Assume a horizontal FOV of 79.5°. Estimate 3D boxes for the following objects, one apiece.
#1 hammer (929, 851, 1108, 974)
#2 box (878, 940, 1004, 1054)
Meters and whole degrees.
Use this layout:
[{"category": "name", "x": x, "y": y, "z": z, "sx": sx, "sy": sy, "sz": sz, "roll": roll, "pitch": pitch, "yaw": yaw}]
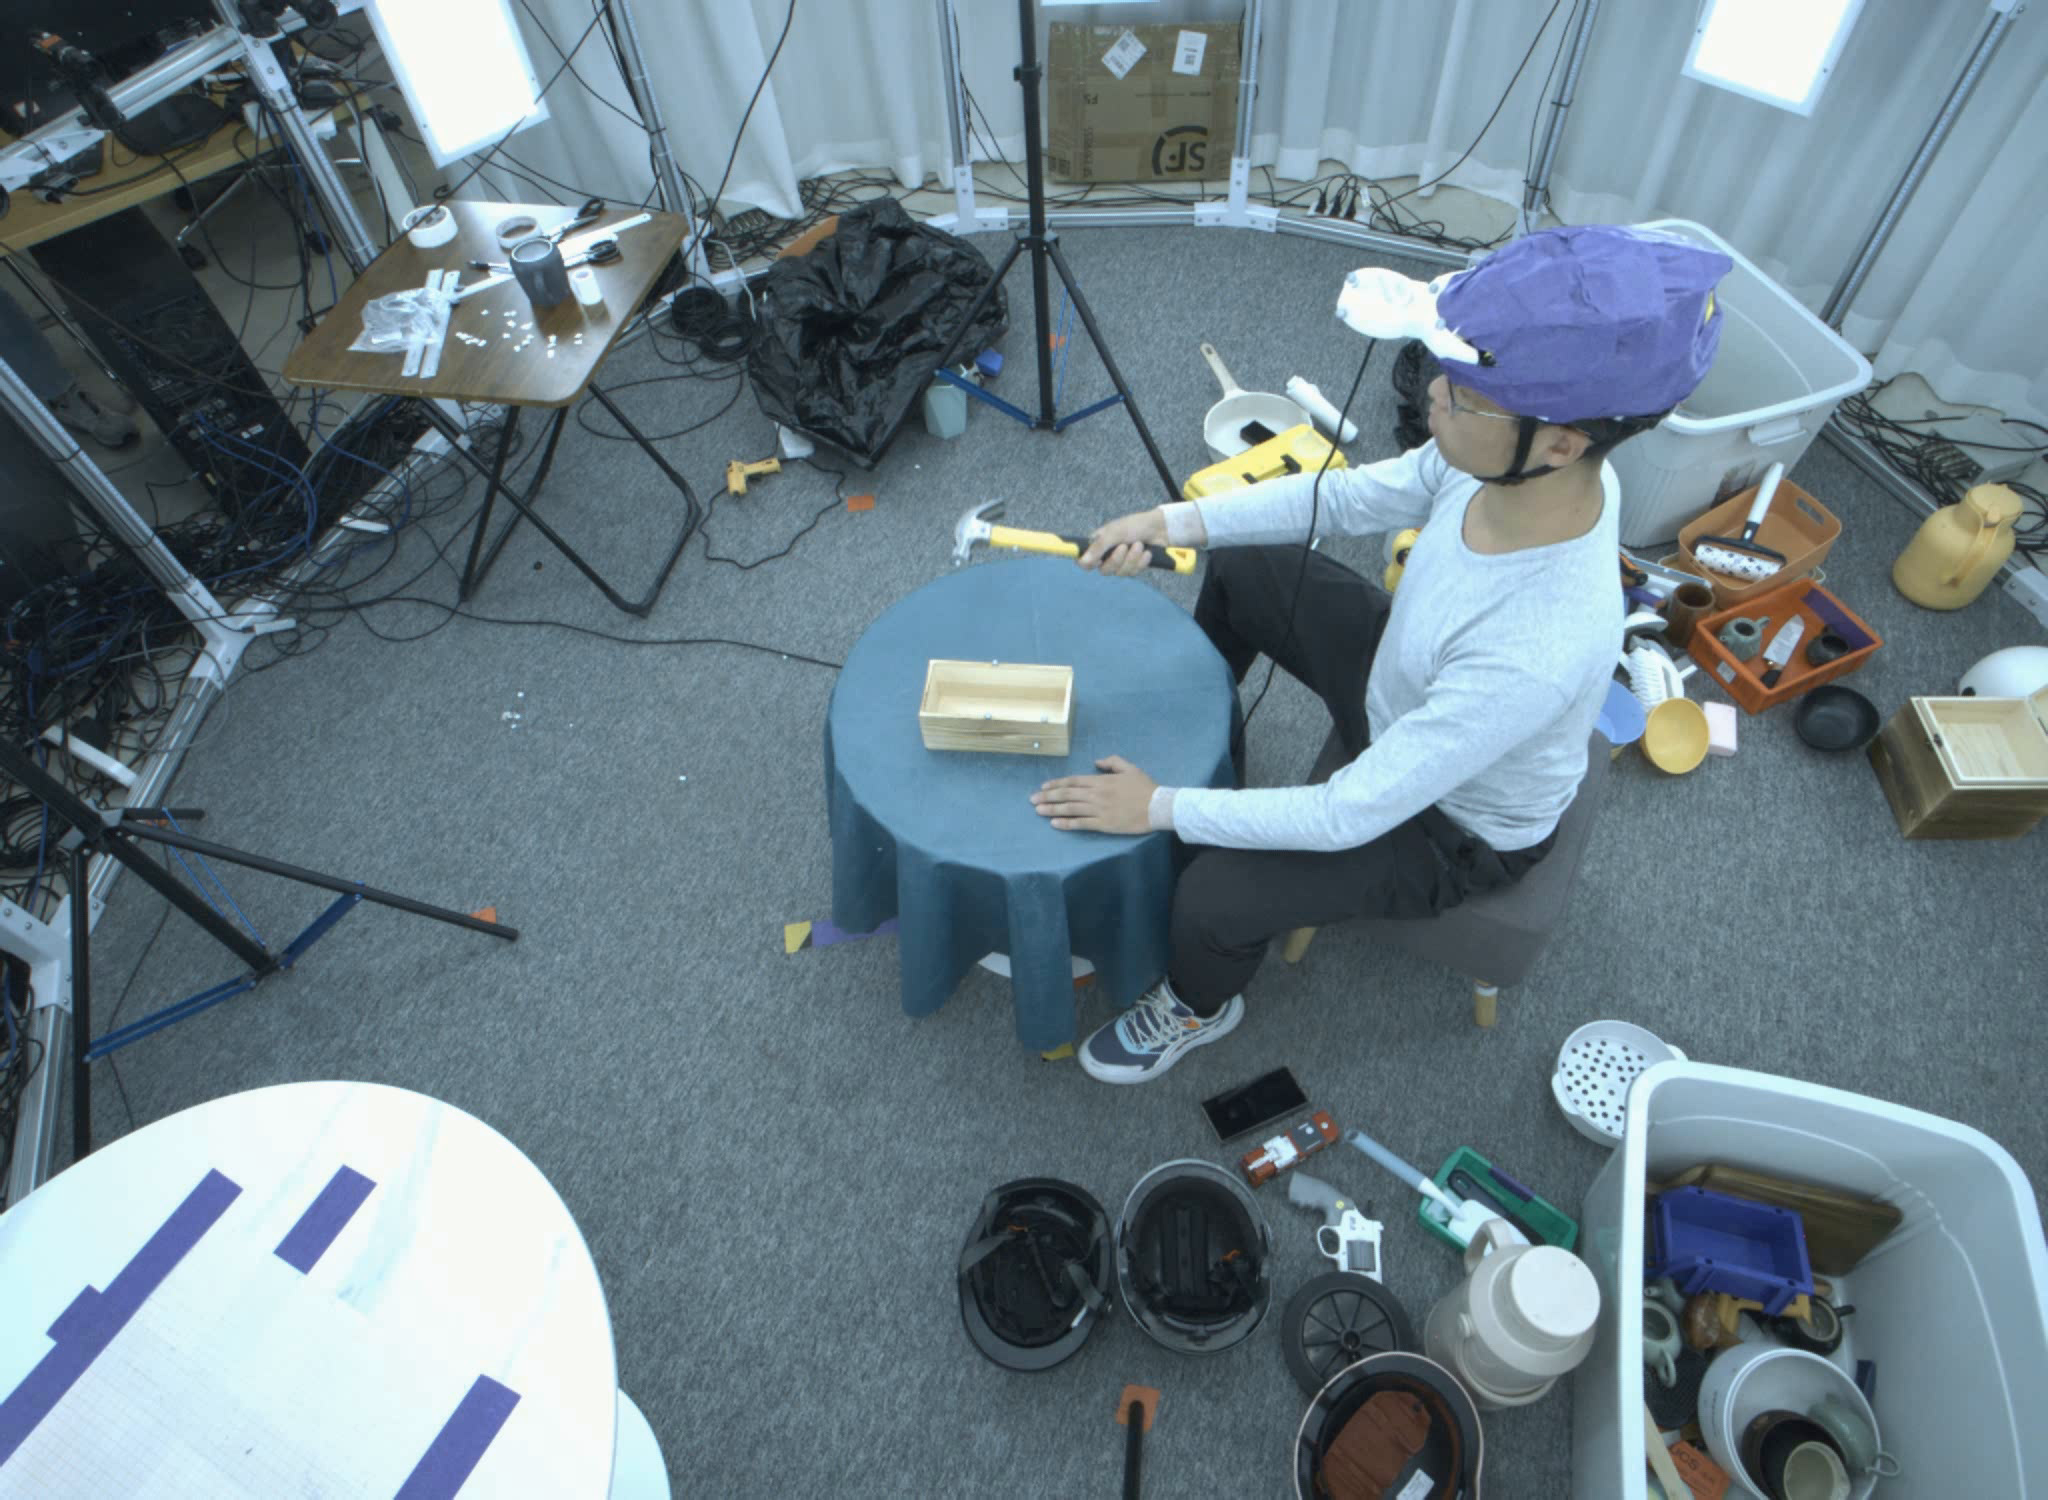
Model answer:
[{"category": "hammer", "x": 0.003, "y": 0.292, "z": 2.191, "sx": 0.335, "sy": 0.032, "sz": 0.132, "roll": 32, "pitch": 56, "yaw": 14}, {"category": "box", "x": -0.156, "y": 0.463, "z": 2.308, "sx": 0.208, "sy": 0.081, "sz": 0.108, "roll": 26, "pitch": 59, "yaw": 19}]
